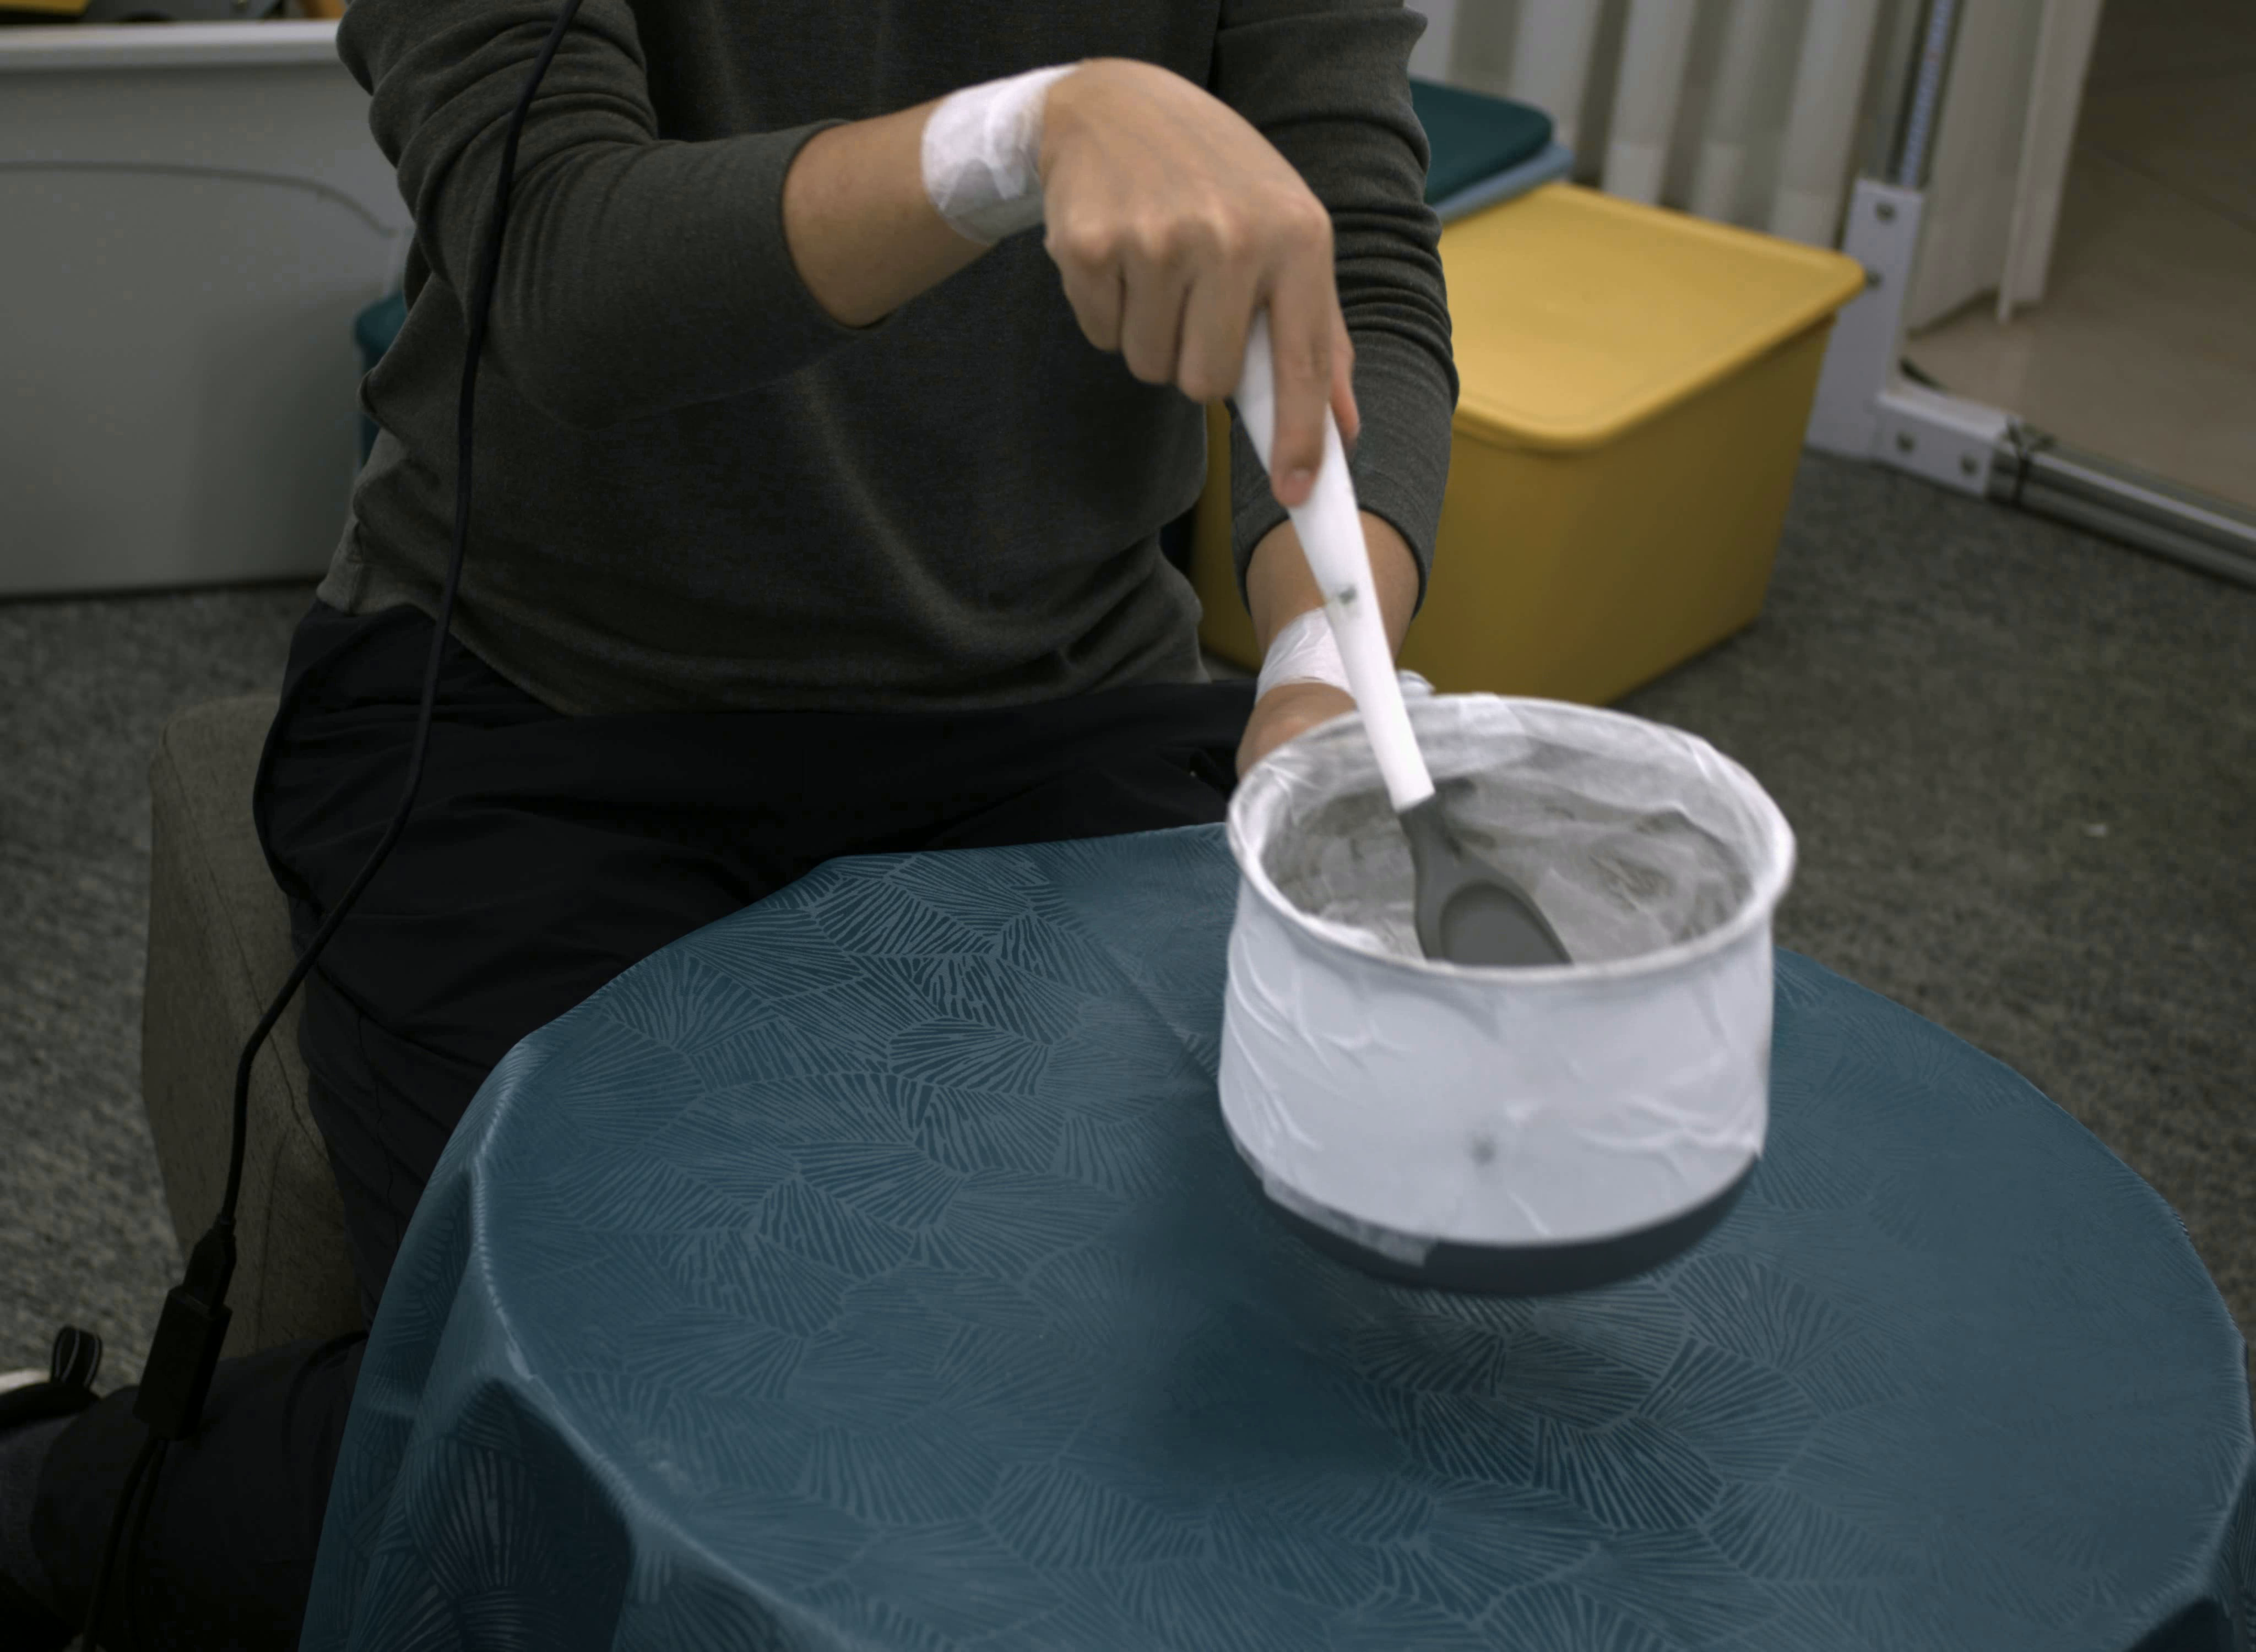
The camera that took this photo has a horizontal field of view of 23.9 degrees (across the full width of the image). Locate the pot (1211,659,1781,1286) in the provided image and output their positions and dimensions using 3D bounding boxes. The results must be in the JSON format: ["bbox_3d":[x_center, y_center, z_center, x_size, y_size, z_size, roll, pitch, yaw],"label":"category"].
[{"bbox_3d":[0.106,0.039,1.715,0.178,0.136,0.236,-8,30,-16],"label":"pot"}]

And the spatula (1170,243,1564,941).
[{"bbox_3d":[0.080,-0.047,1.694,0.058,0.288,0.032,-20,-3,-35],"label":"spatula"}]
